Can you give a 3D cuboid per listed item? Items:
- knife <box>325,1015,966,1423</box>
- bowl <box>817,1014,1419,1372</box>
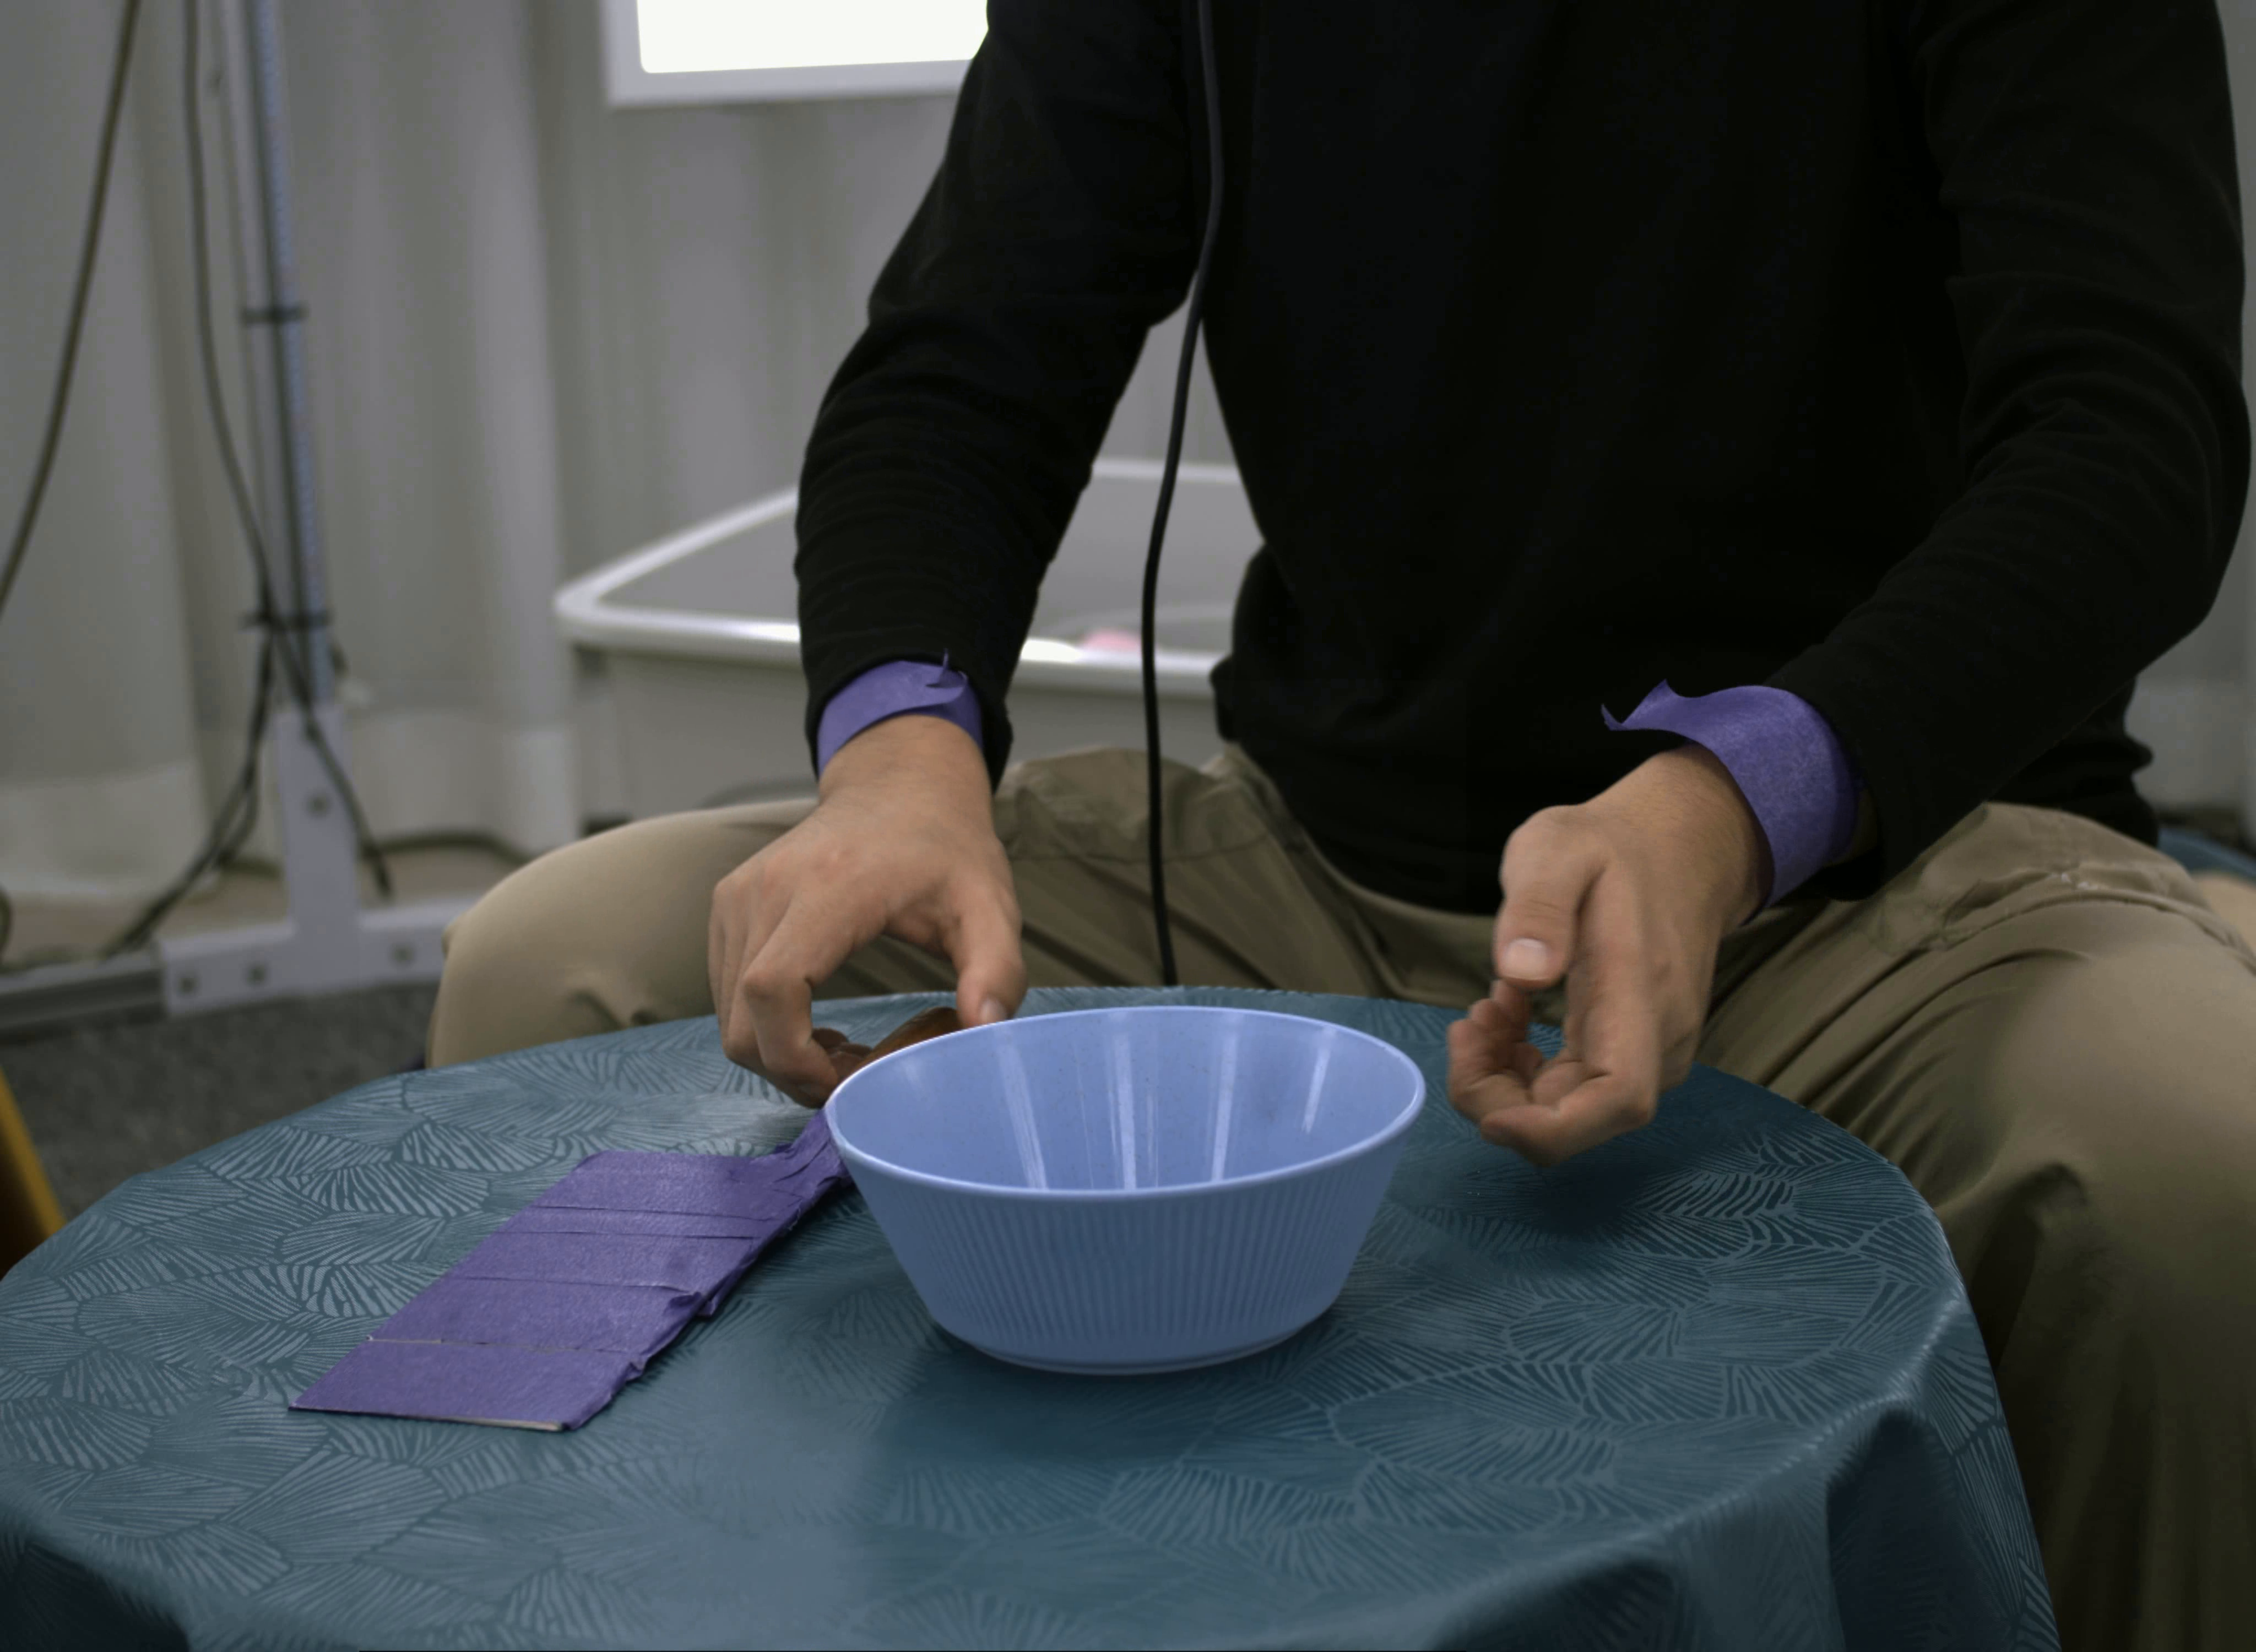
[{"bbox_3d":[-0.144,0.117,1.682,0.104,0.032,0.316,3,17,20],"label":"knife"},{"bbox_3d":[-0.003,0.109,1.598,0.175,0.070,0.177,-1,15,0],"label":"bowl"}]
